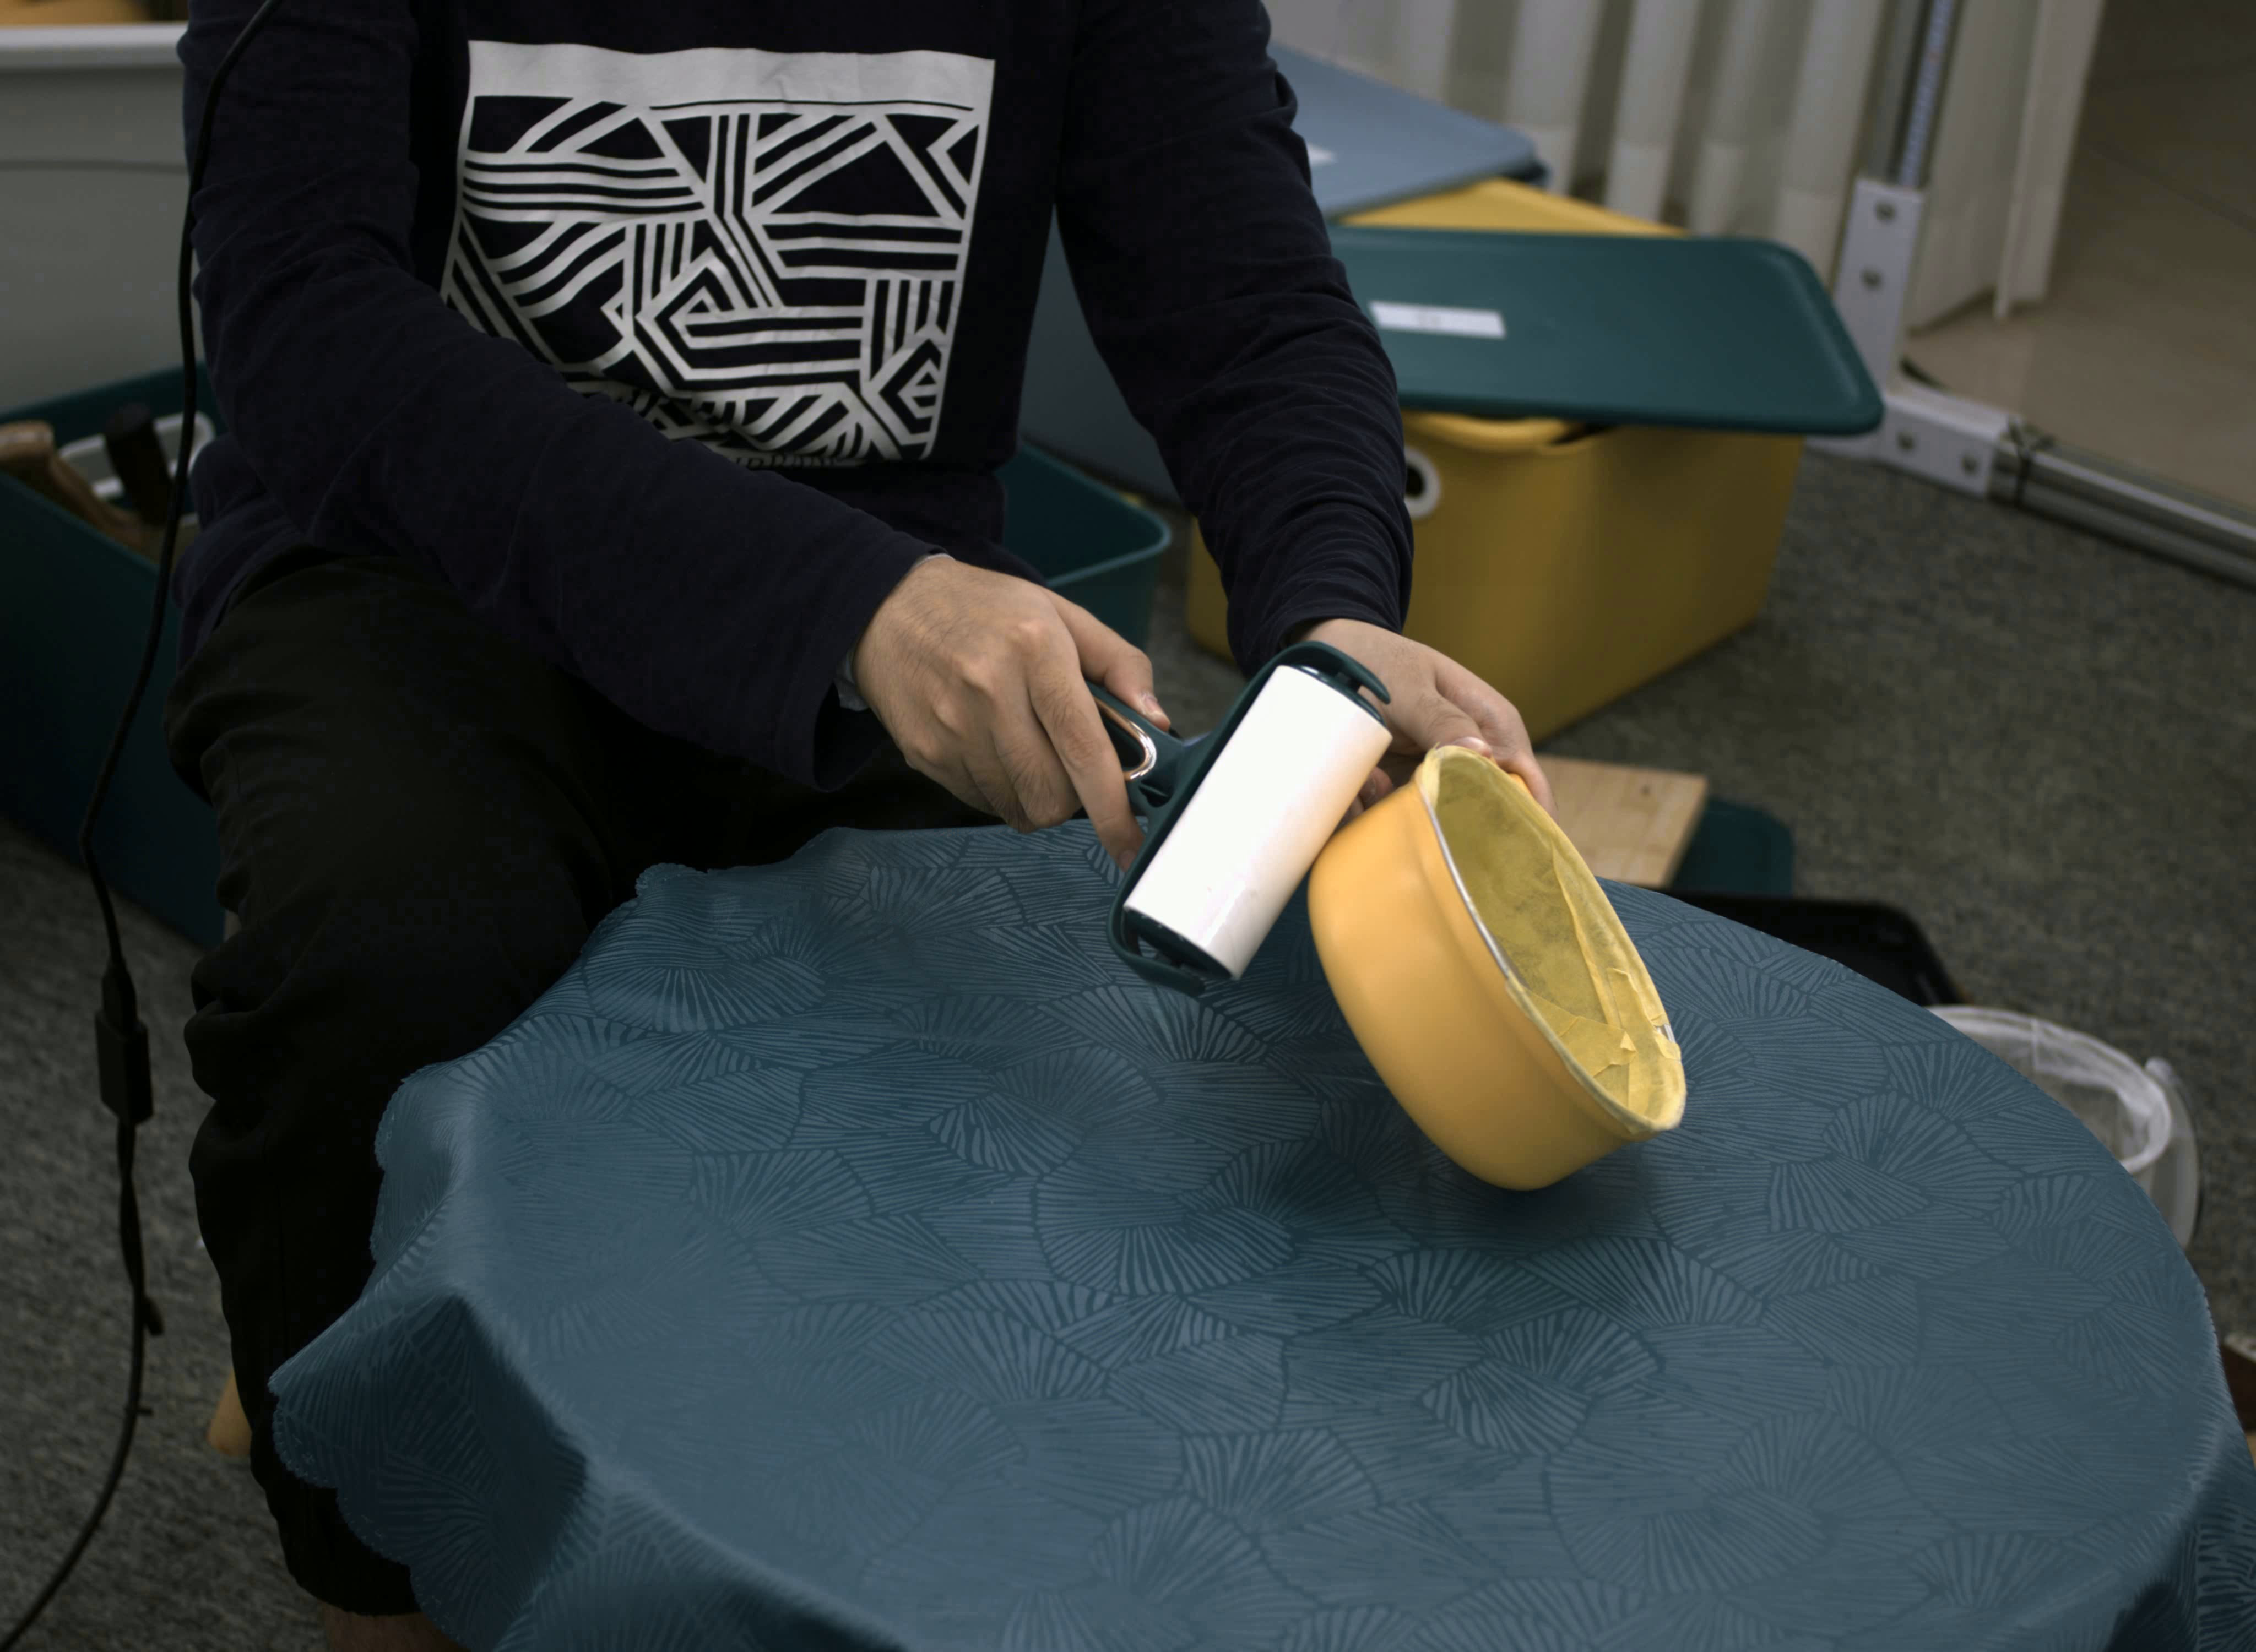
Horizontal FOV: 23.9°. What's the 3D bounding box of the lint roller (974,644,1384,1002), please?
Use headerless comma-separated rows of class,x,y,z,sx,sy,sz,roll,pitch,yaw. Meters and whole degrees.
lint roller,-0.002,-0.023,1.860,0.181,0.134,0.048,26,-10,41

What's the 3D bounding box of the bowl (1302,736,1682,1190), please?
bowl,0.119,0.045,1.837,0.151,0.074,0.181,37,27,-38
